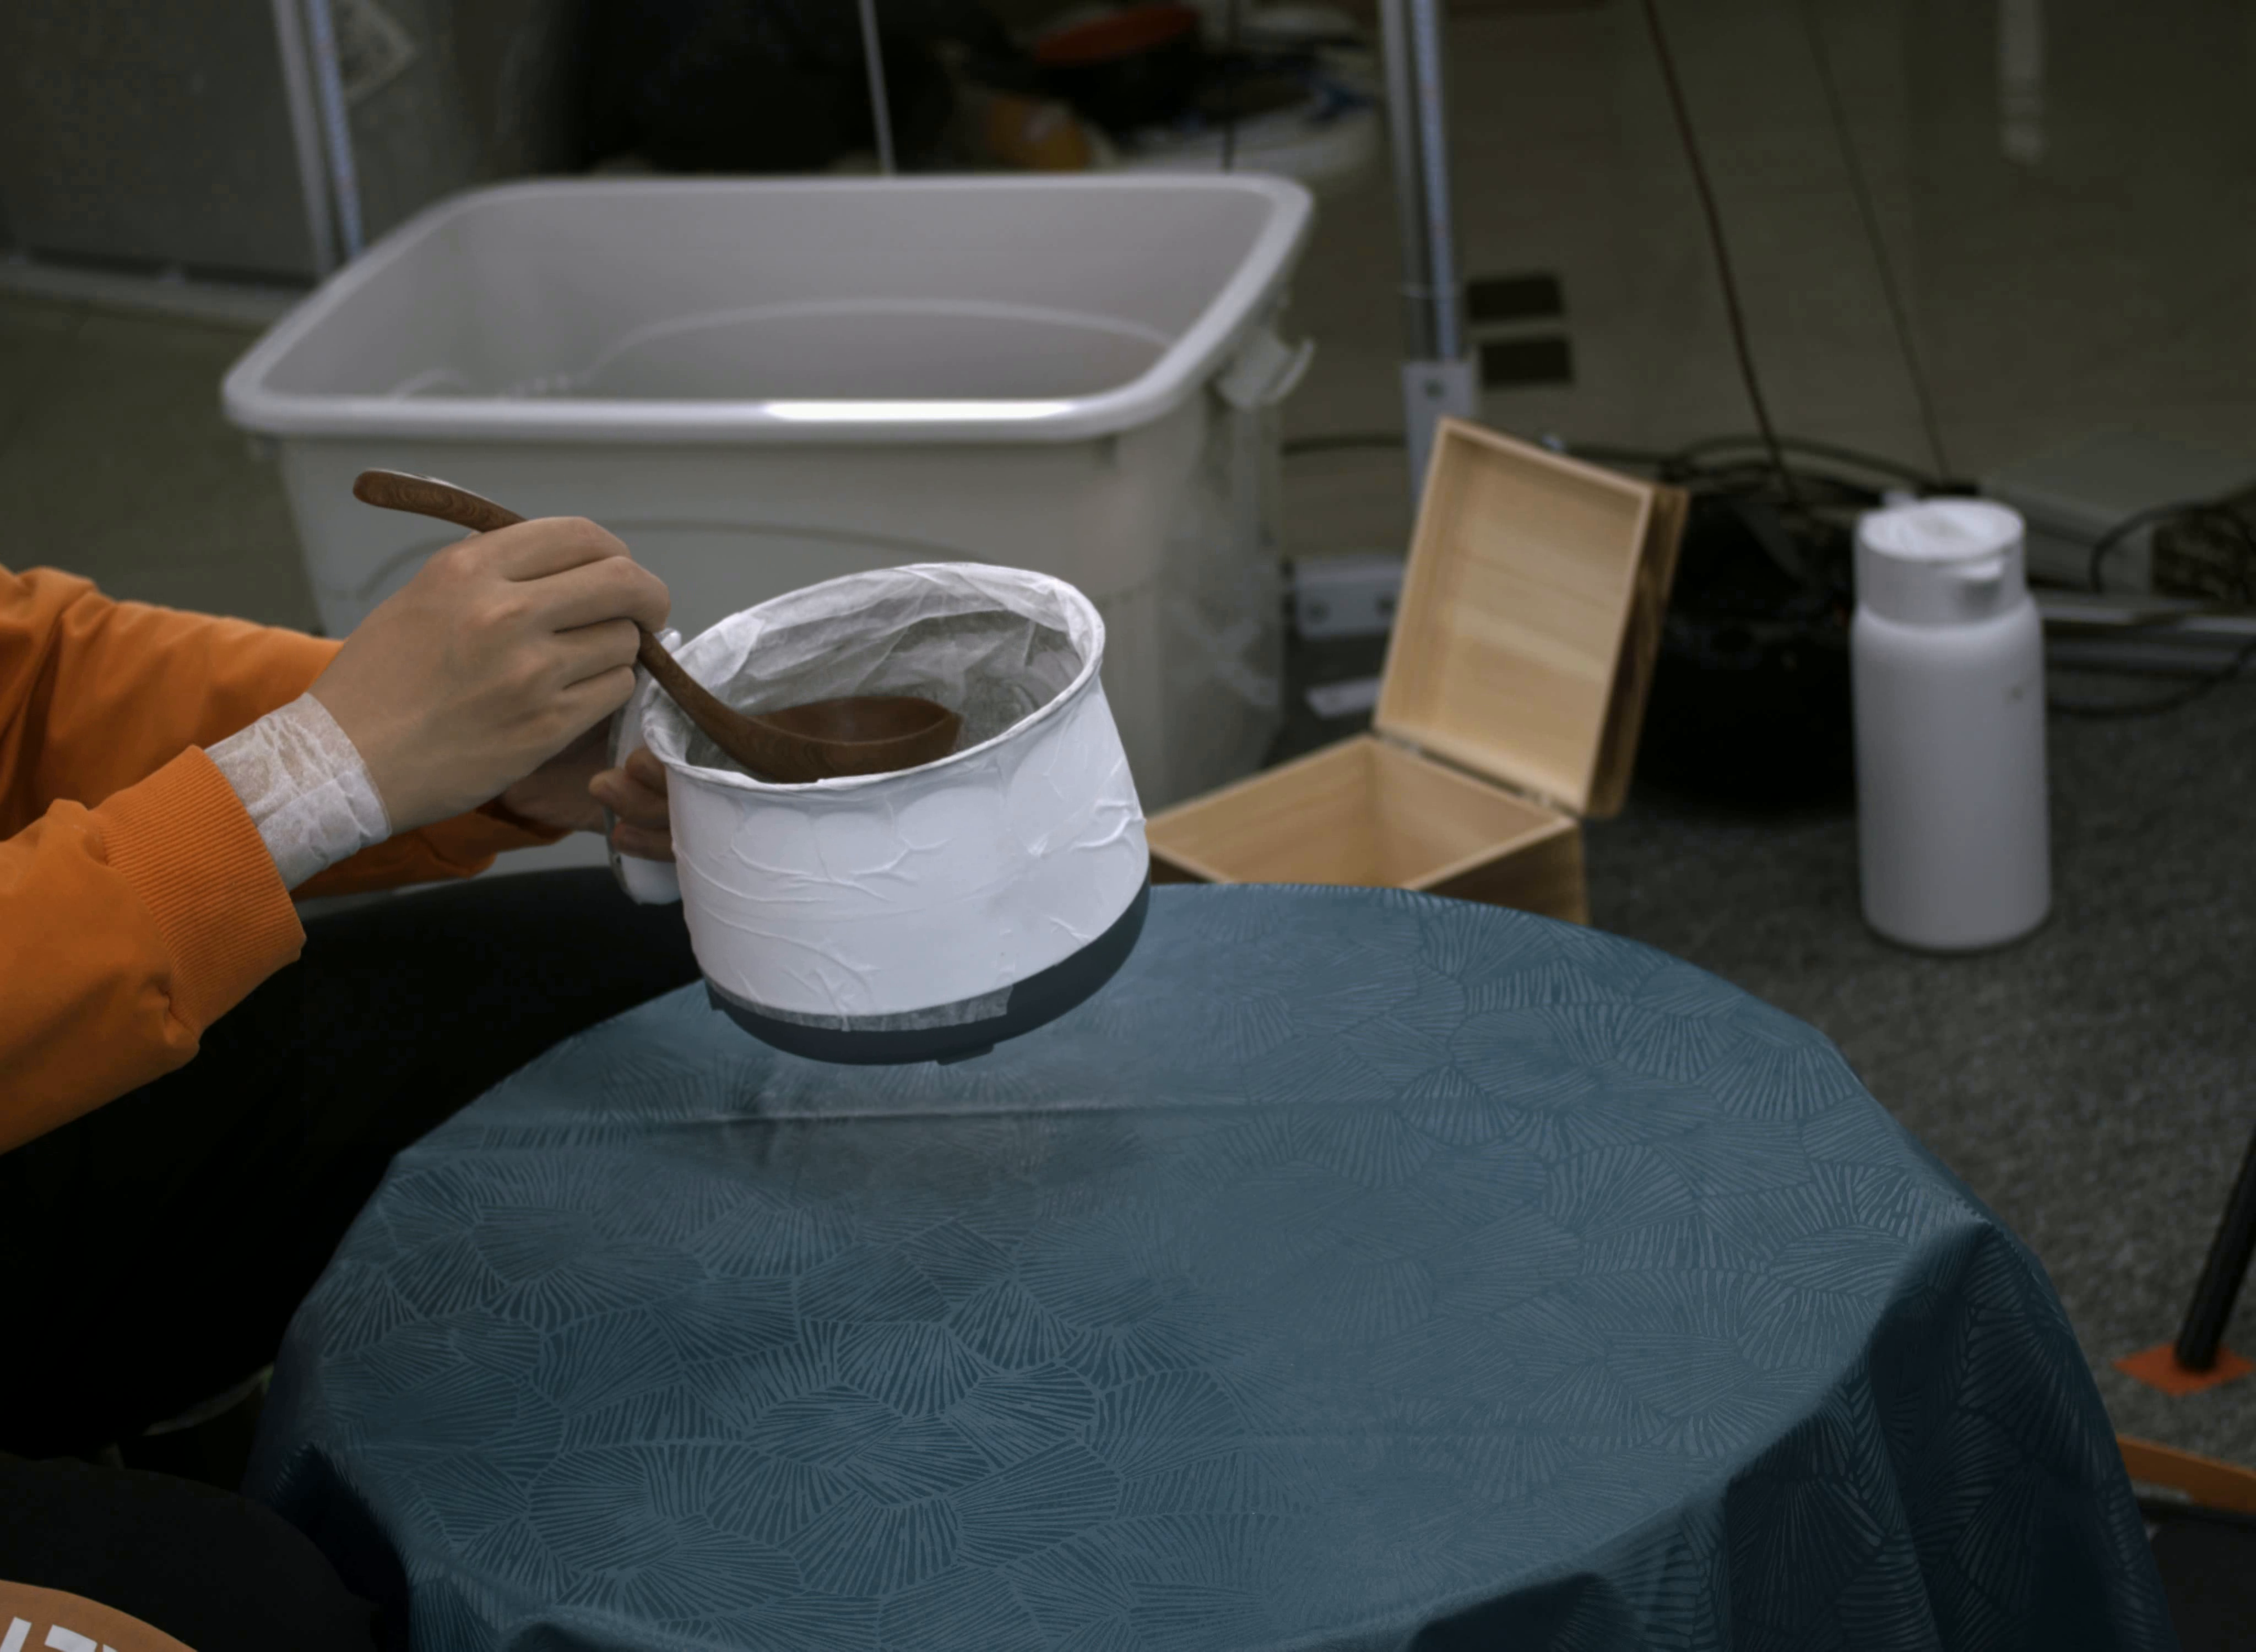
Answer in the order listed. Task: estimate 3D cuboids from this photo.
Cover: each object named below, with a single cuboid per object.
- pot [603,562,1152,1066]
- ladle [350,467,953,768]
[{"bbox_3d":[-0.107,-0.006,2.143,0.232,0.139,0.176,9,34,32],"label":"pot"},{"bbox_3d":[-0.173,-0.082,2.098,0.065,0.263,0.076,-58,31,-7],"label":"ladle"}]
